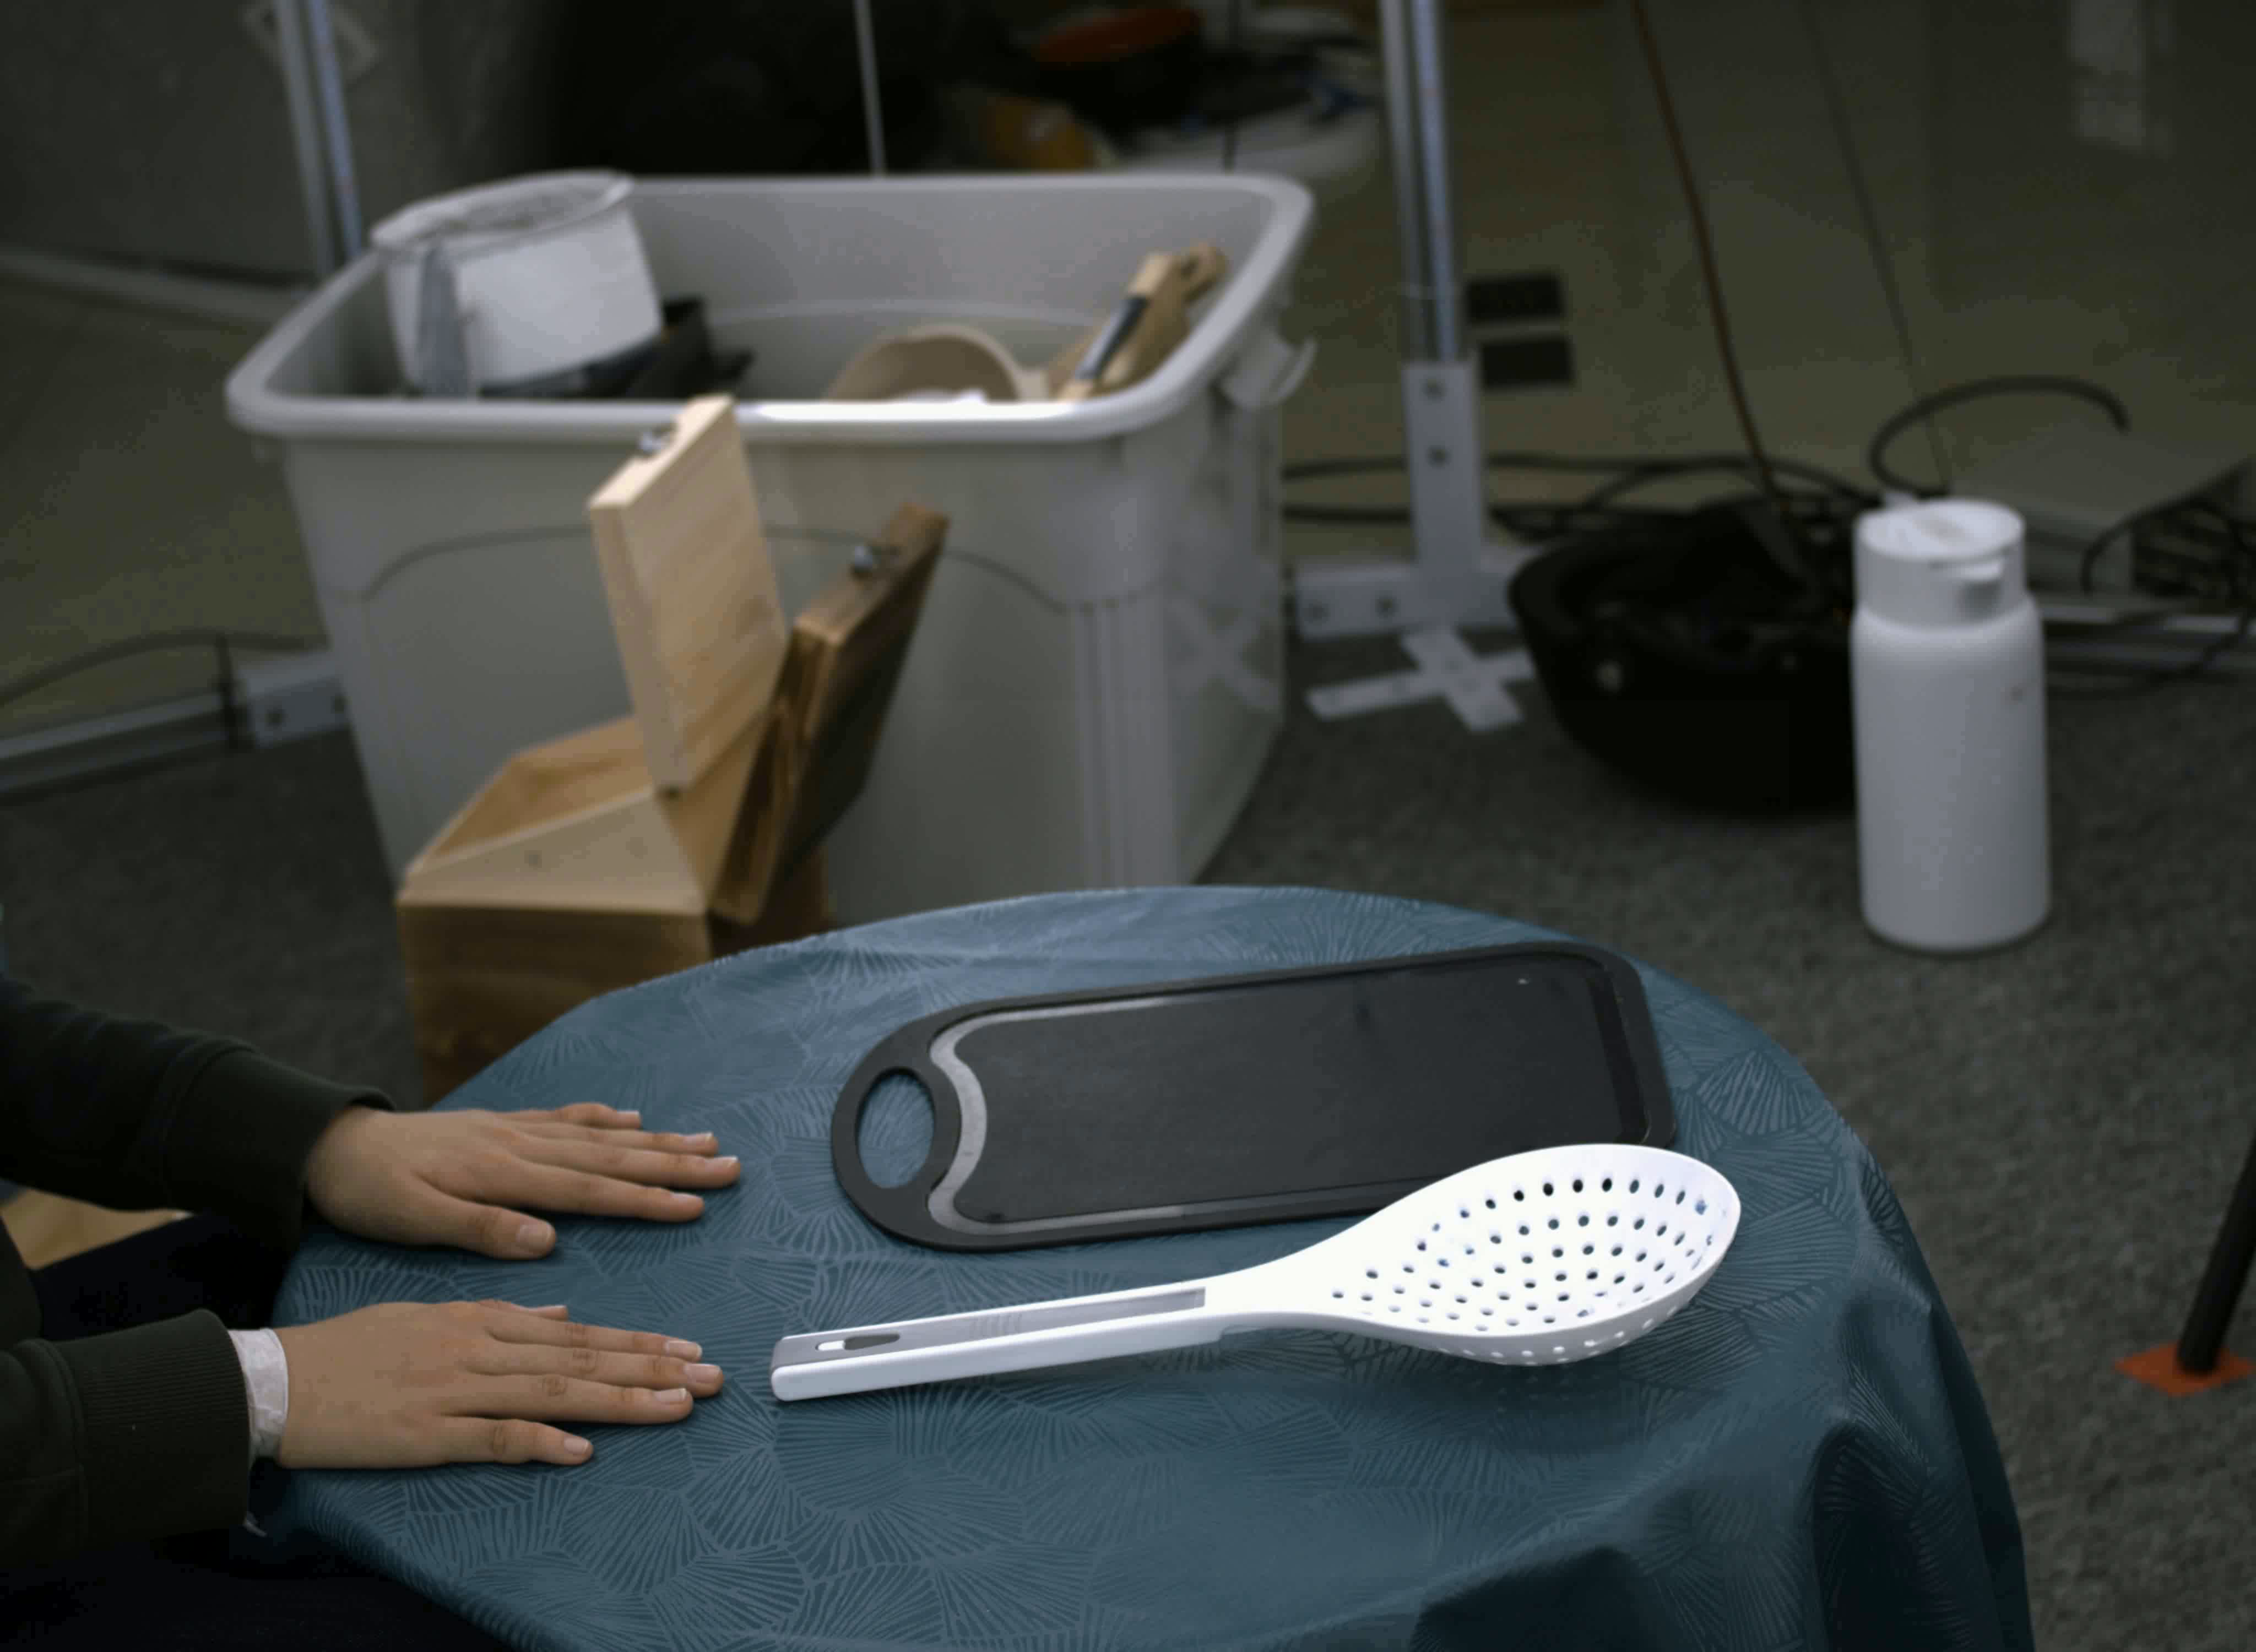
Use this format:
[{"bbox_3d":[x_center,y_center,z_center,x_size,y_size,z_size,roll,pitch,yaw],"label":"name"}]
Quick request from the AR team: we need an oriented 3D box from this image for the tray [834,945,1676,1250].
[{"bbox_3d":[0.046,0.103,2.210,0.325,0.010,0.208,-6,25,2],"label":"tray"}]

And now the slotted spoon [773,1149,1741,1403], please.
[{"bbox_3d":[0.044,0.170,2.022,0.349,0.046,0.134,-5,23,5],"label":"slotted spoon"}]
